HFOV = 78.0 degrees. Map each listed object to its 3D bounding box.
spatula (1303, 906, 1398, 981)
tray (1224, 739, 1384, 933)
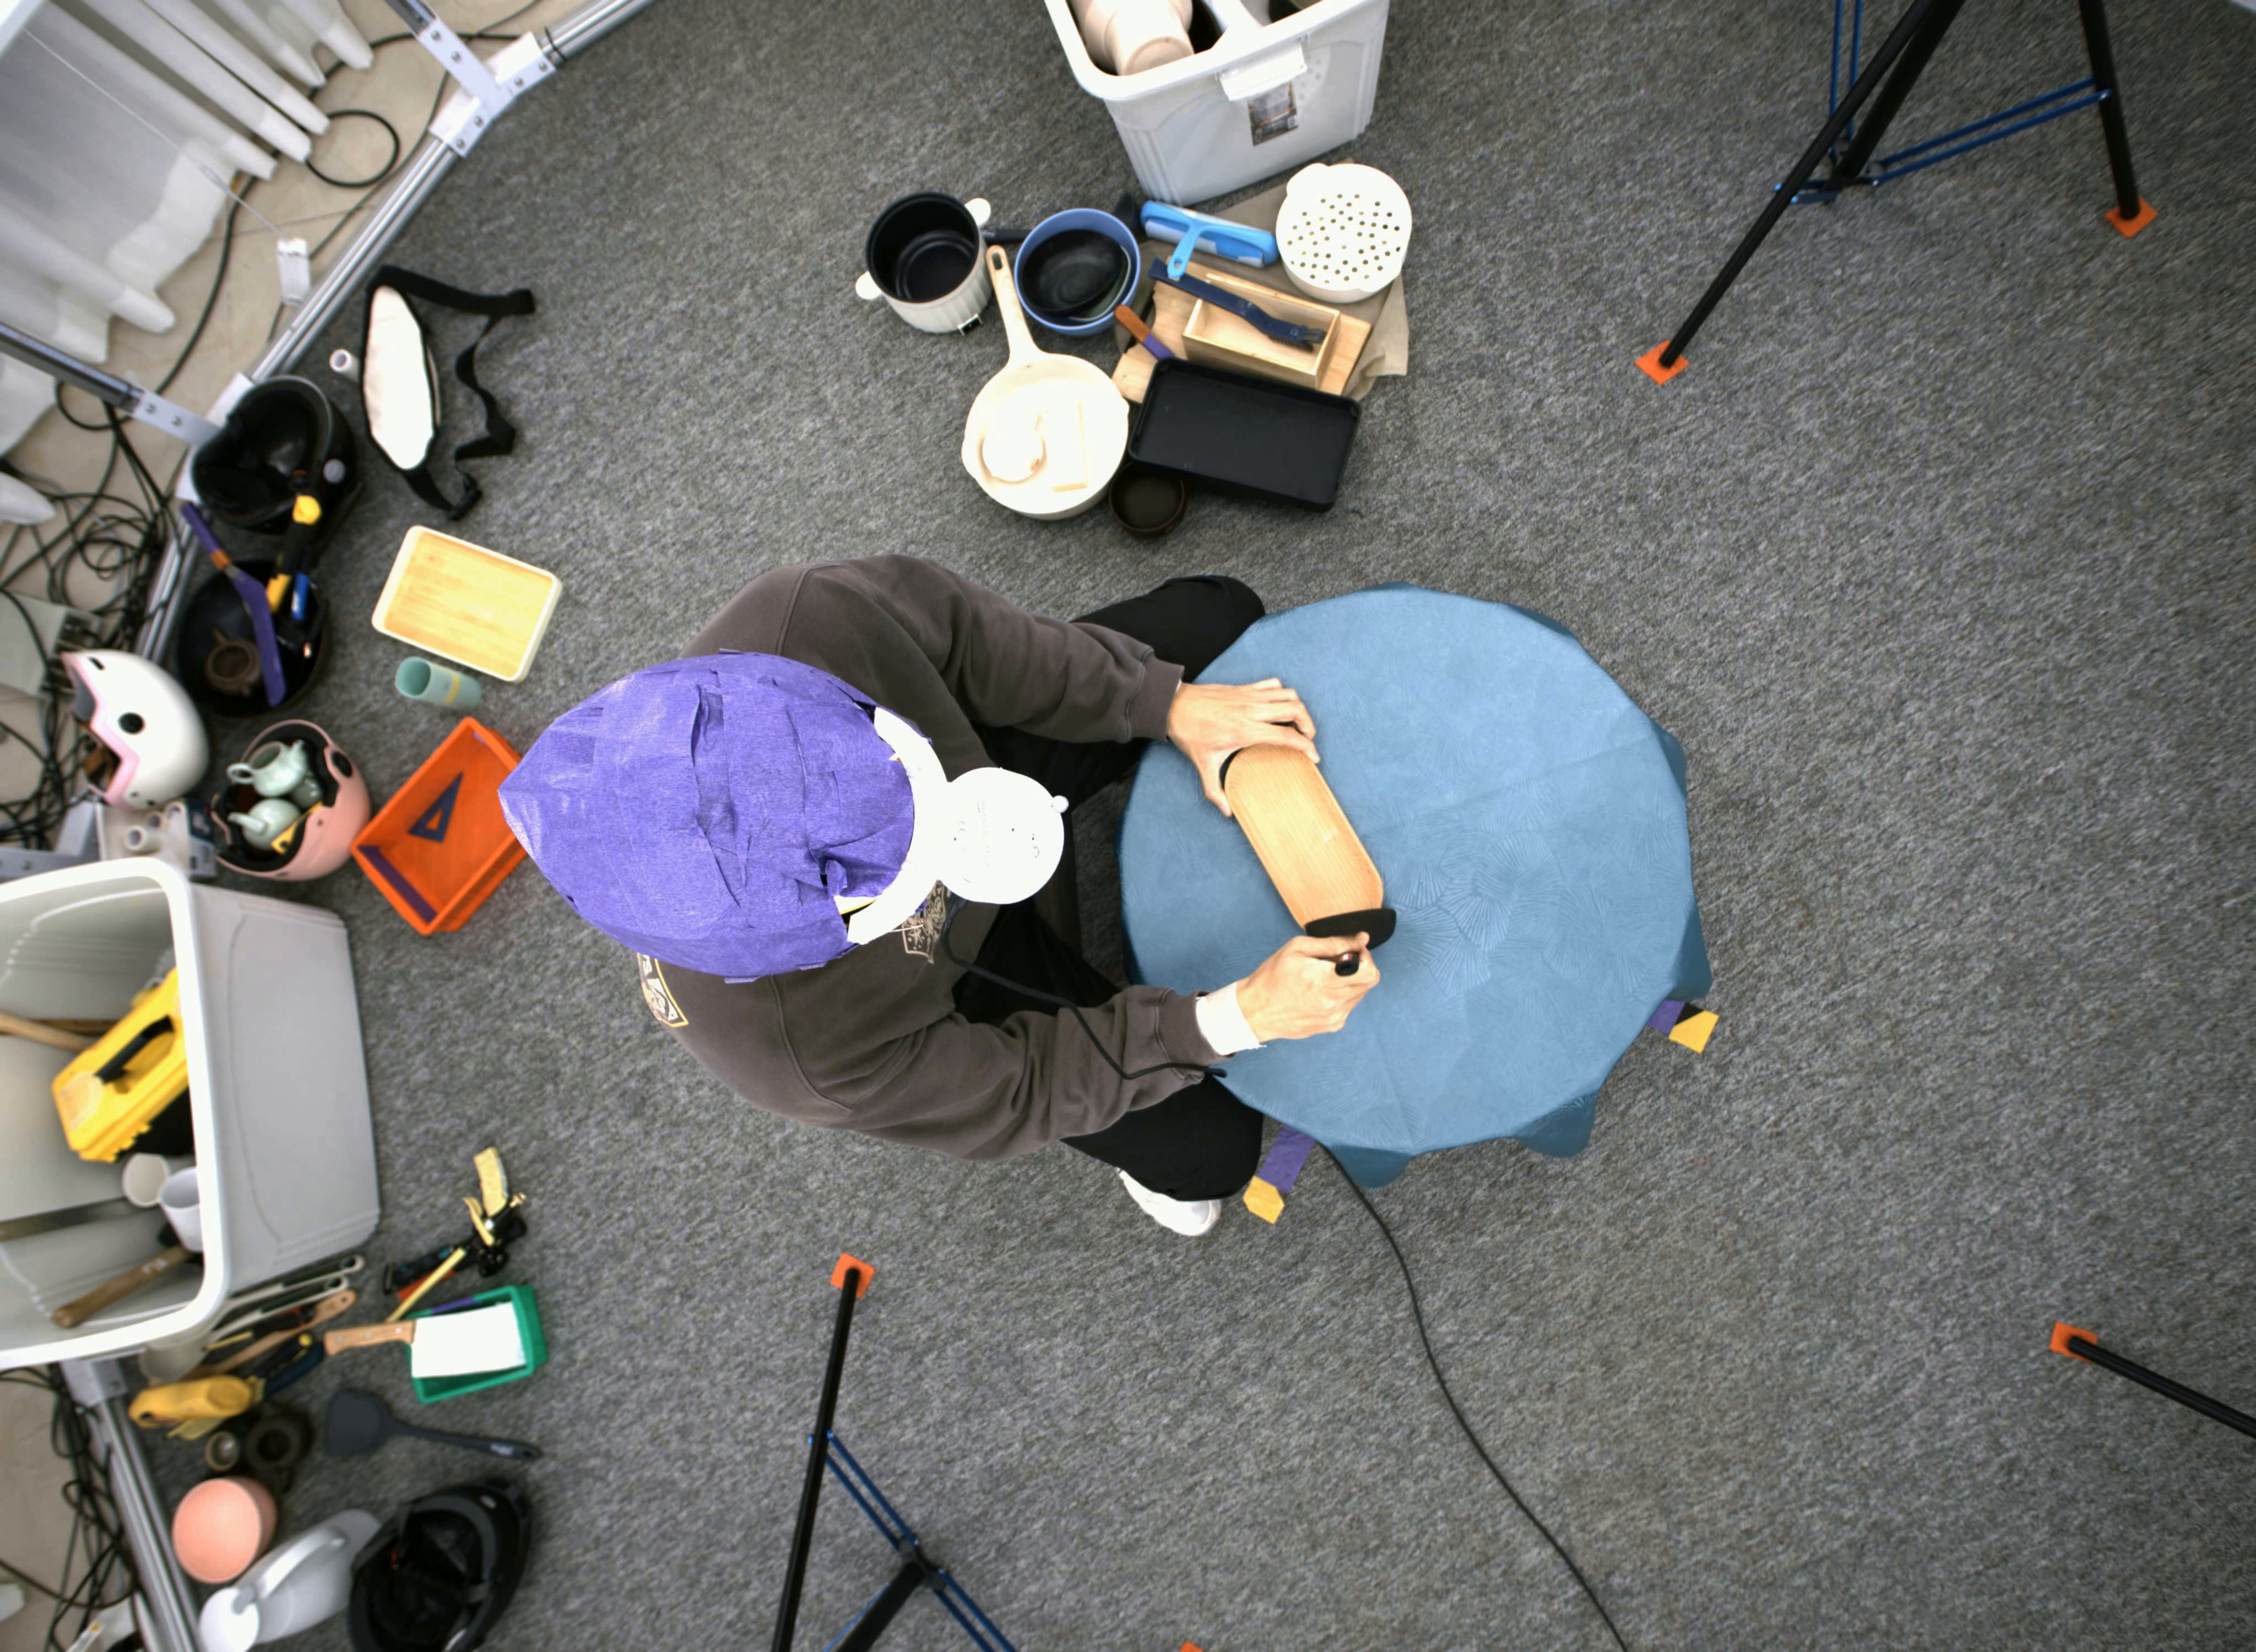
[{"bbox_3d":[0.205,0.108,1.286,0.100,0.325,0.040,-13,88,11],"label":"spatula"},{"bbox_3d":[0.185,0.014,1.463,0.102,0.020,0.230,-30,86,5],"label":"tray"}]
